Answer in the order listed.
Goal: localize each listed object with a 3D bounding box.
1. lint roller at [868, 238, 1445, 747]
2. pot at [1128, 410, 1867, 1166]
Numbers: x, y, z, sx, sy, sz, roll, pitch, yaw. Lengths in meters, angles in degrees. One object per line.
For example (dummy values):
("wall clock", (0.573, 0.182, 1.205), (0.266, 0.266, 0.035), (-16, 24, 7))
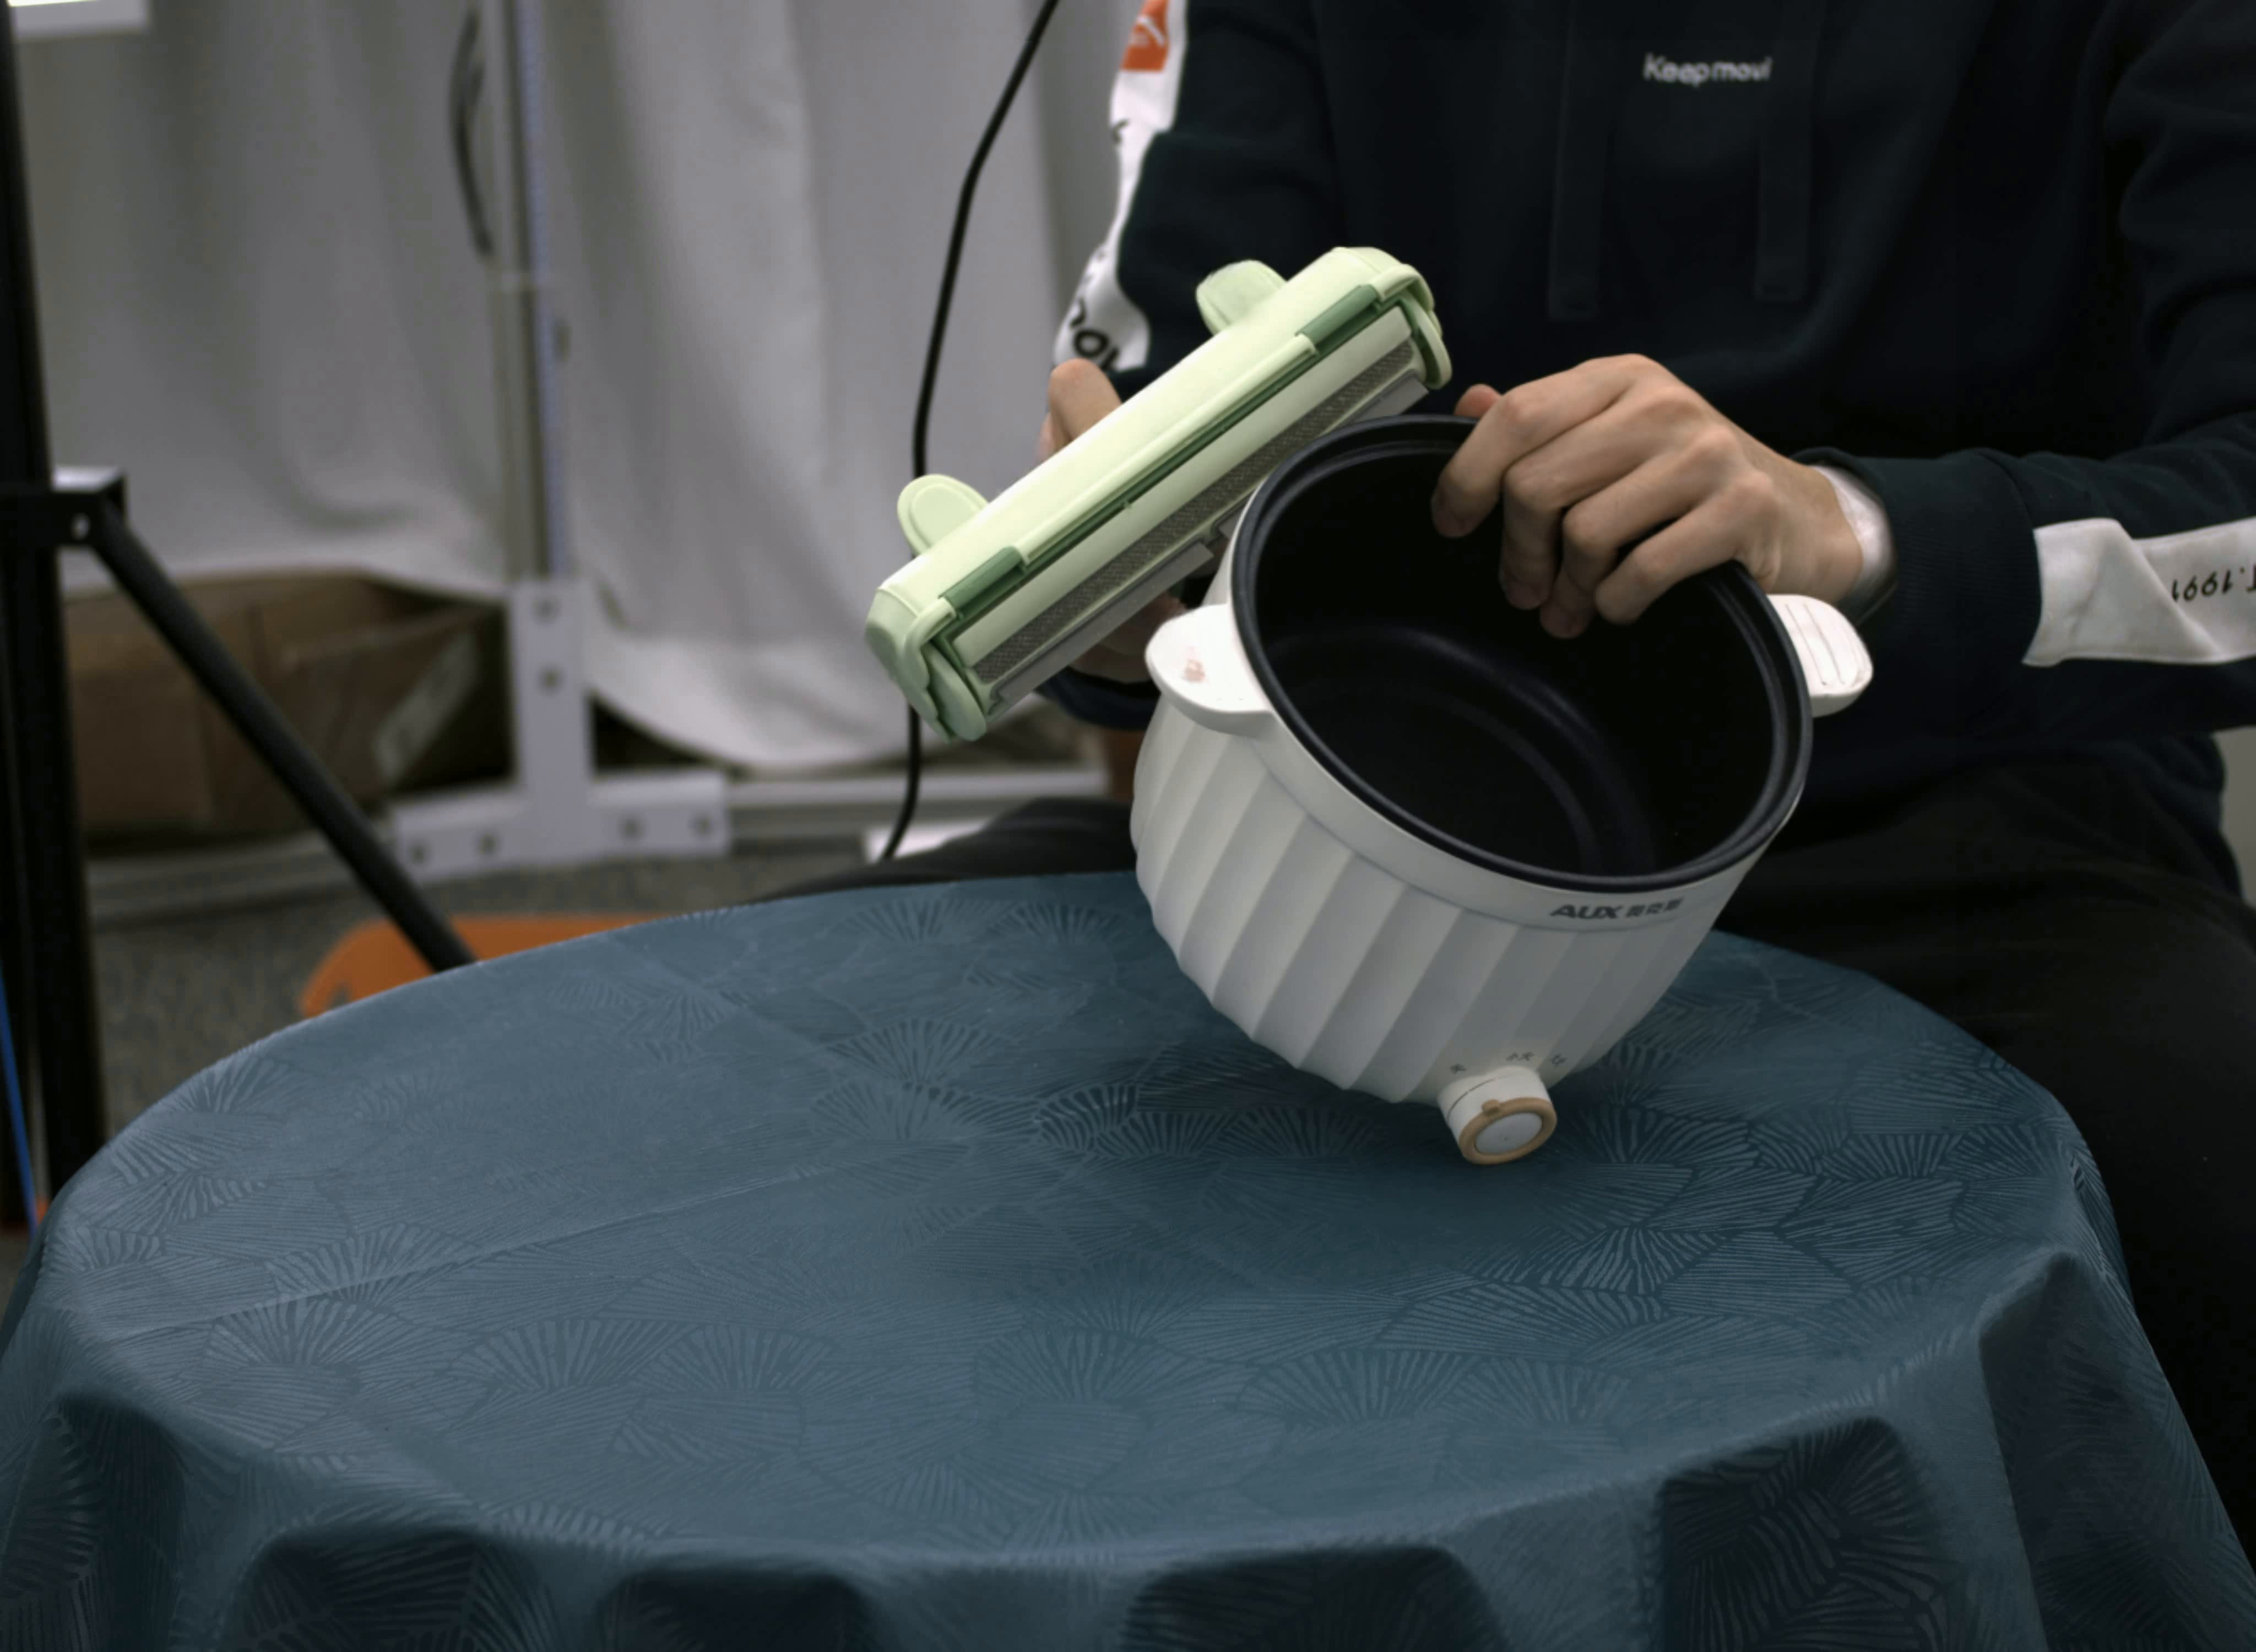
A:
("lint roller", (-0.006, -0.102, 1.656), (0.197, 0.082, 0.184), (-38, 4, -11))
("pot", (0.097, -0.008, 1.582), (0.235, 0.143, 0.194), (-3, 48, -24))
